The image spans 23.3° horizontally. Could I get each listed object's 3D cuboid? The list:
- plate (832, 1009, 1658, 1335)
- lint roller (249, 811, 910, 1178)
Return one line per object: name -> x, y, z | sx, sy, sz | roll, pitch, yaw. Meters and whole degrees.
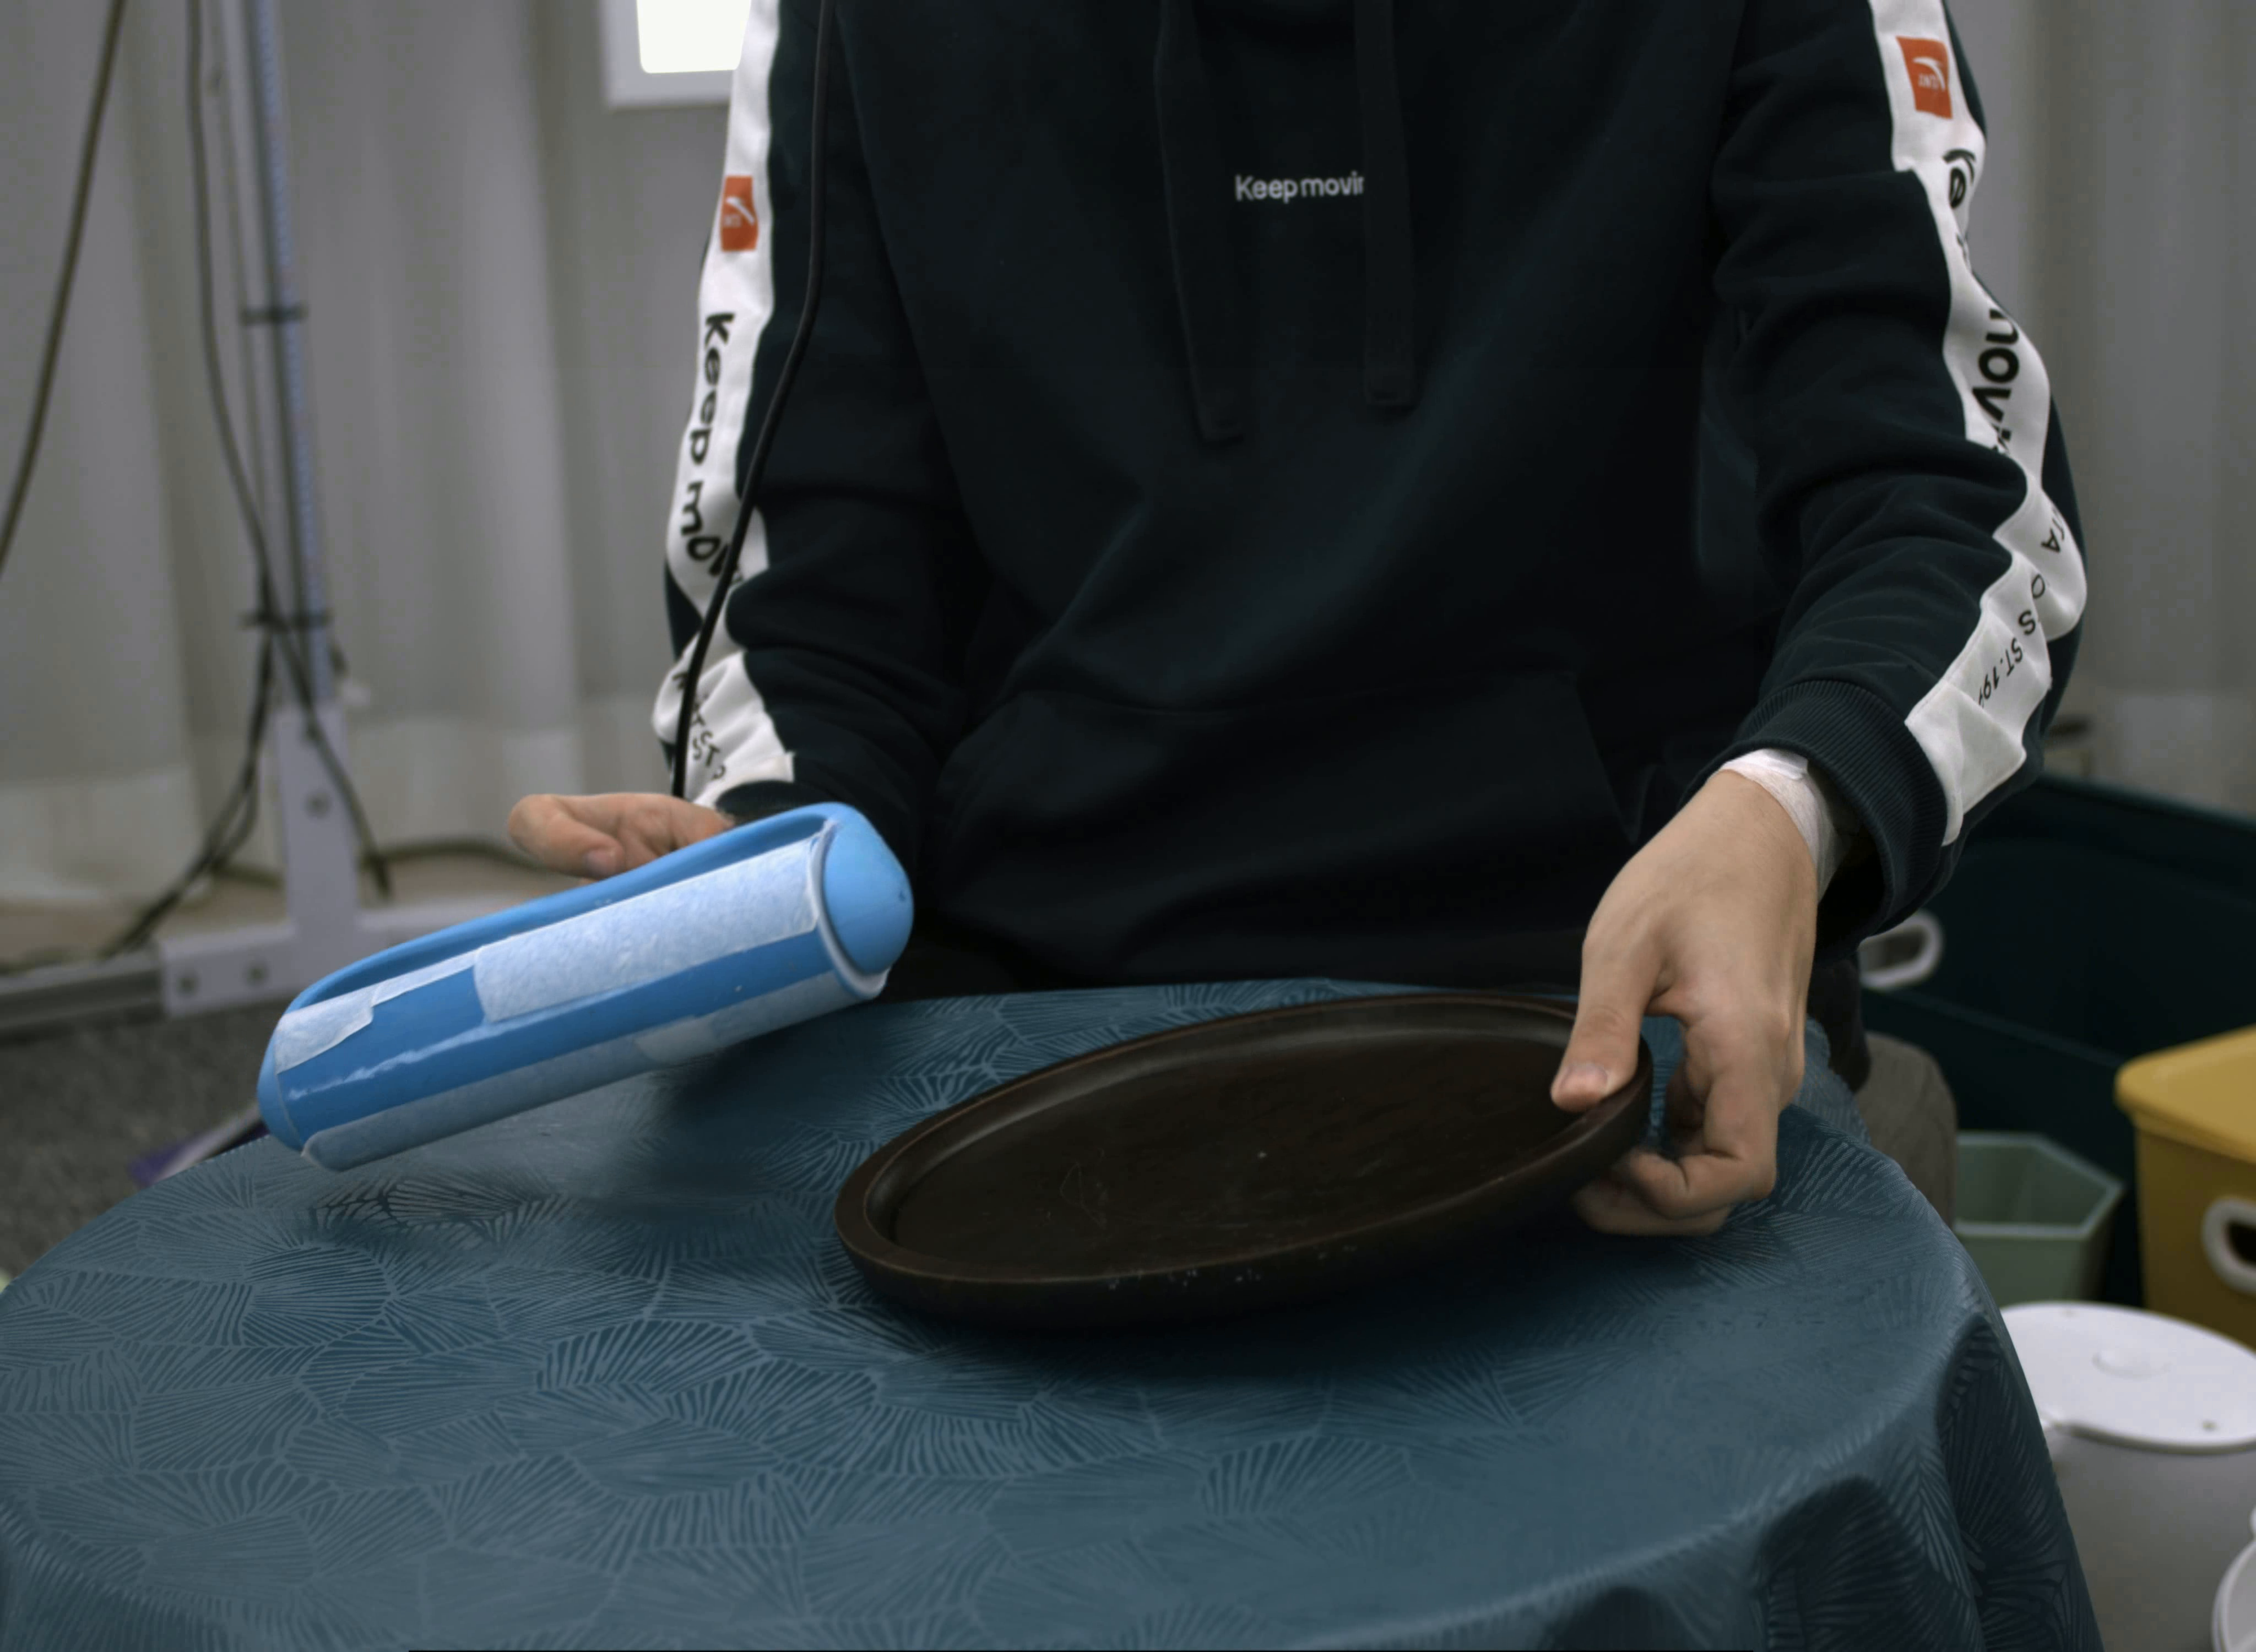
plate -> 0.036, 0.102, 1.650 | 0.254, 0.029, 0.256 | -11, 14, 2
lint roller -> -0.159, 0.049, 1.764 | 0.228, 0.068, 0.180 | -20, 3, 15
